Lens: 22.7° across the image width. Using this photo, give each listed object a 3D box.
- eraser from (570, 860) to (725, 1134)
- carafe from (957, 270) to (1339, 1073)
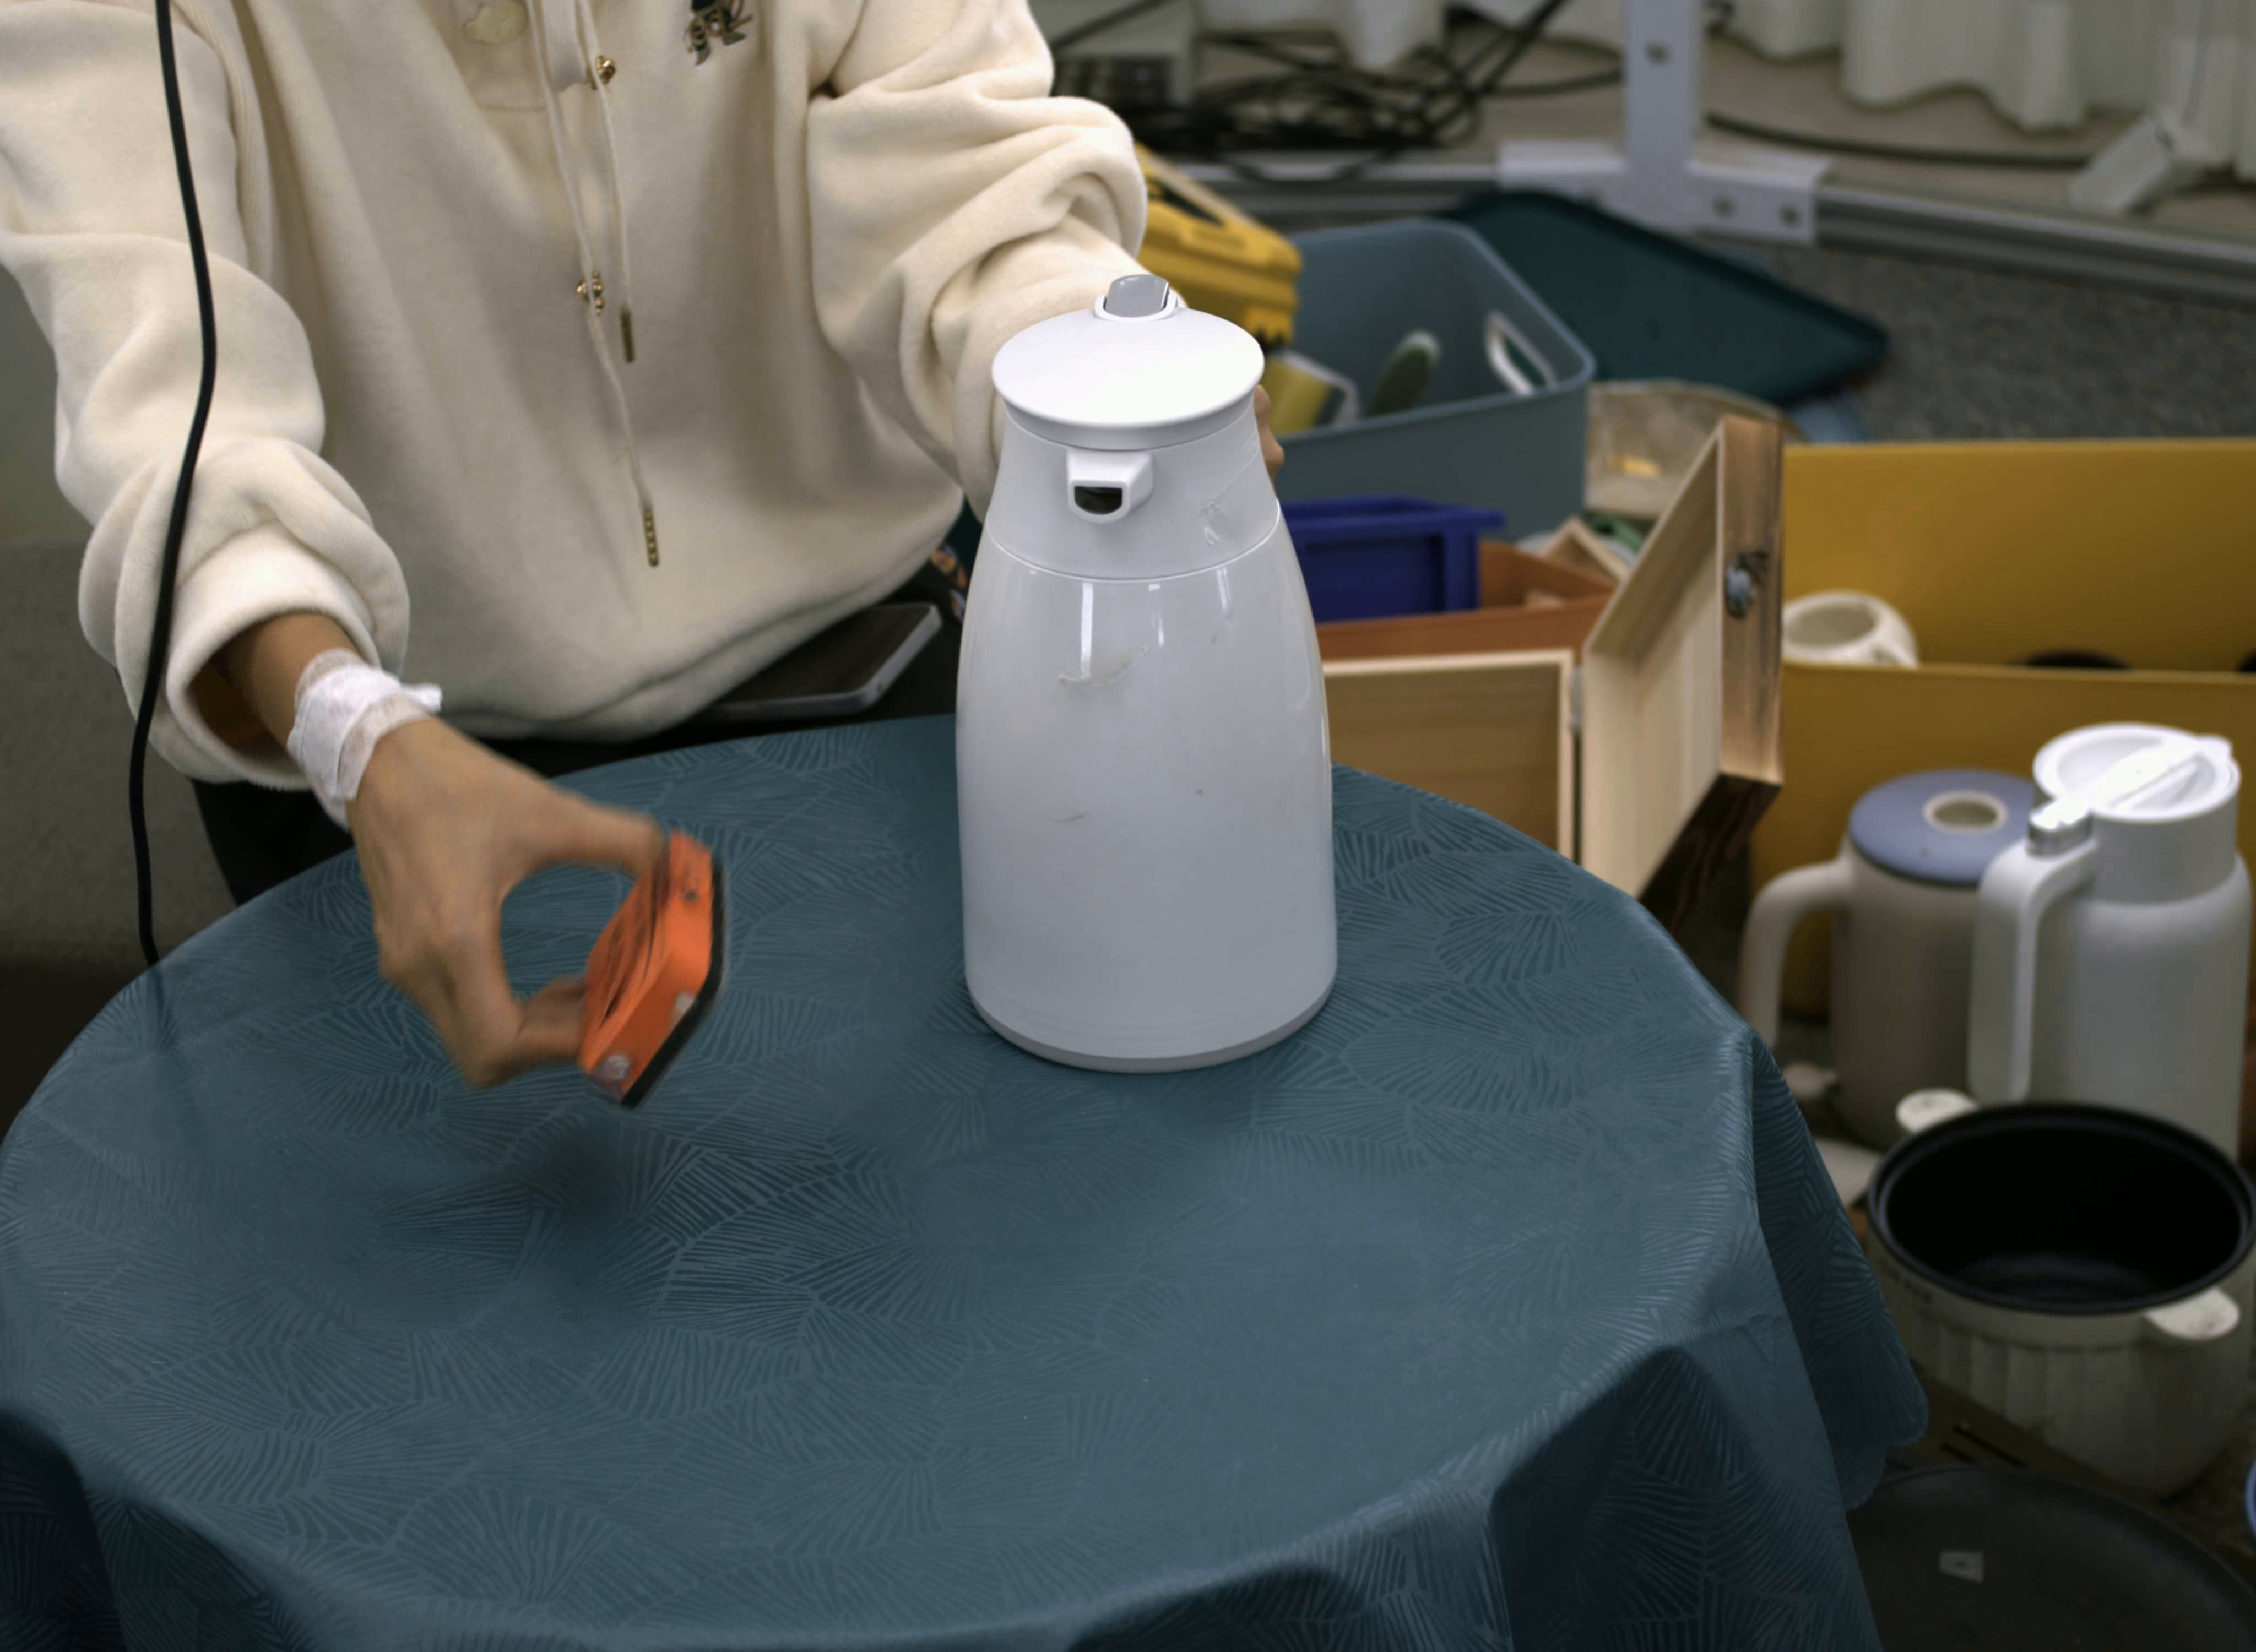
[{"bbox_3d":[-0.158,0.056,1.857,0.023,0.058,0.109,35,15,-15],"label":"eraser"},{"bbox_3d":[0.006,-0.064,1.946,0.132,0.246,0.170,1,28,8],"label":"carafe"}]
